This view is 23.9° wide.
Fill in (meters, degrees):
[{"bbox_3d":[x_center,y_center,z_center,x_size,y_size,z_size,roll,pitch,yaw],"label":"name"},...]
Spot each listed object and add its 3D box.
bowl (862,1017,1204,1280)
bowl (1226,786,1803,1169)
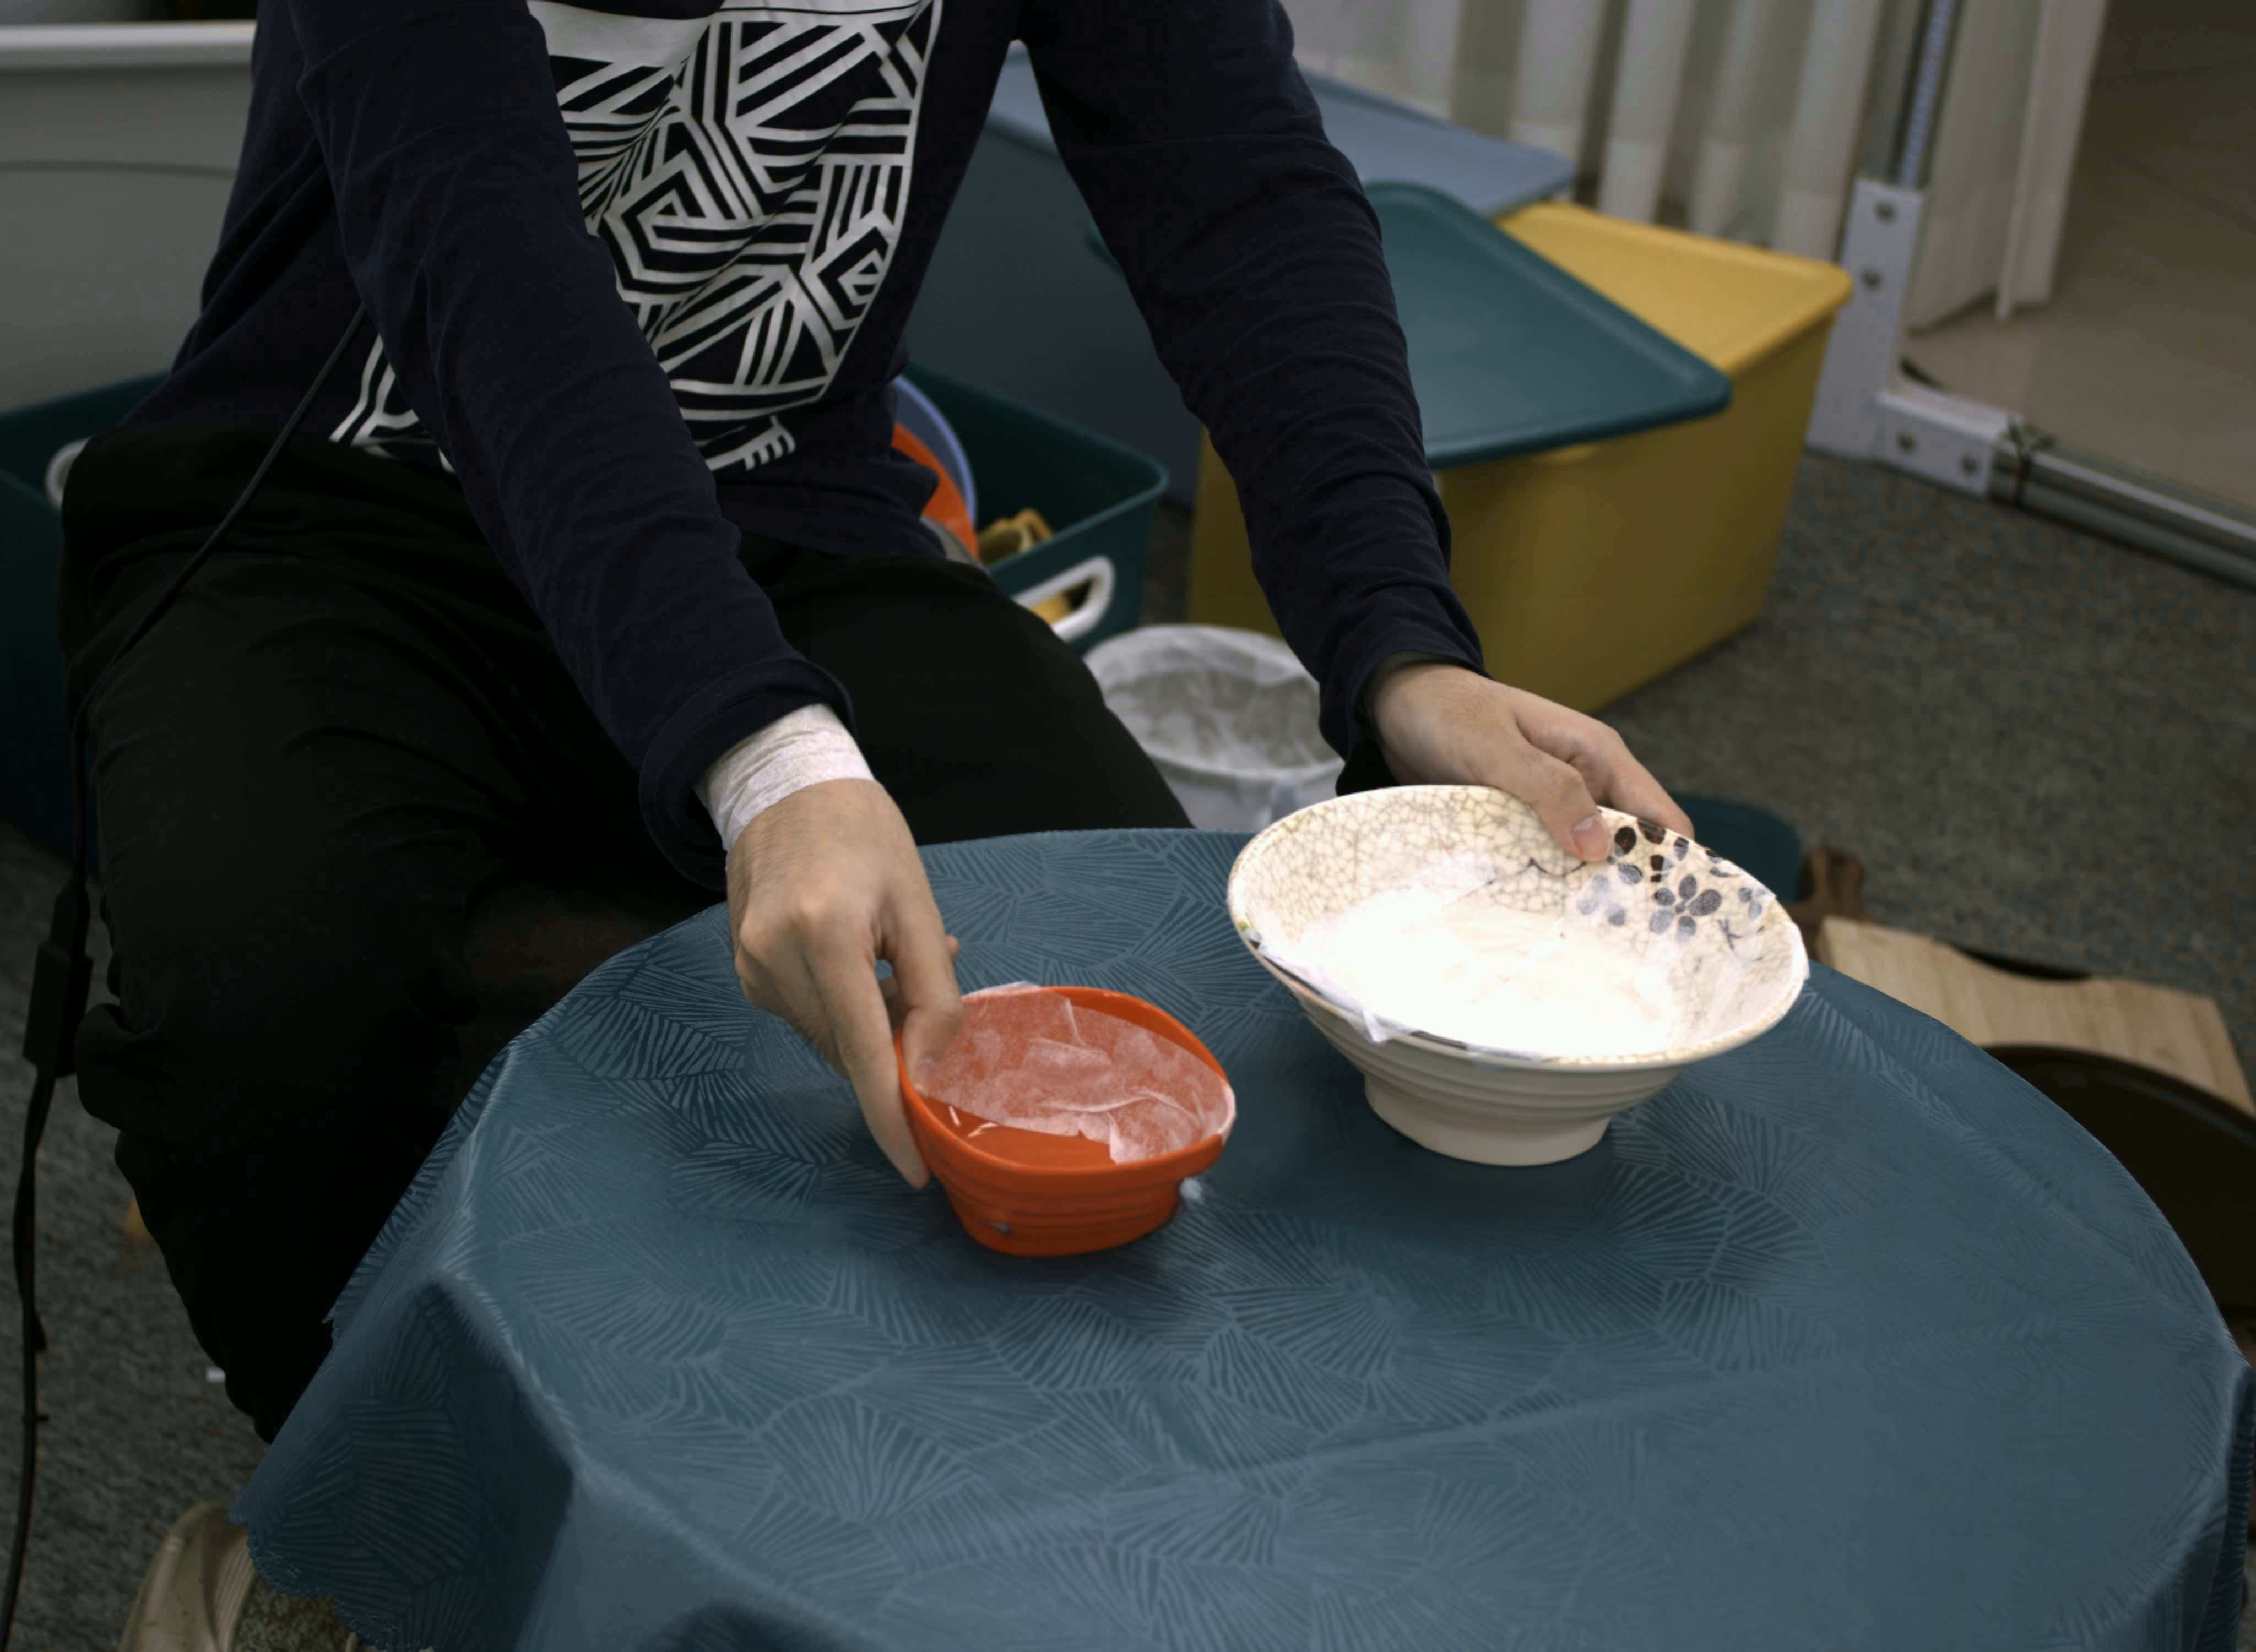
[{"bbox_3d":[-0.036,0.113,1.781,0.118,0.051,0.119,10,26,-5],"label":"bowl"},{"bbox_3d":[0.130,0.065,1.867,0.203,0.078,0.205,5,26,-3],"label":"bowl"}]
